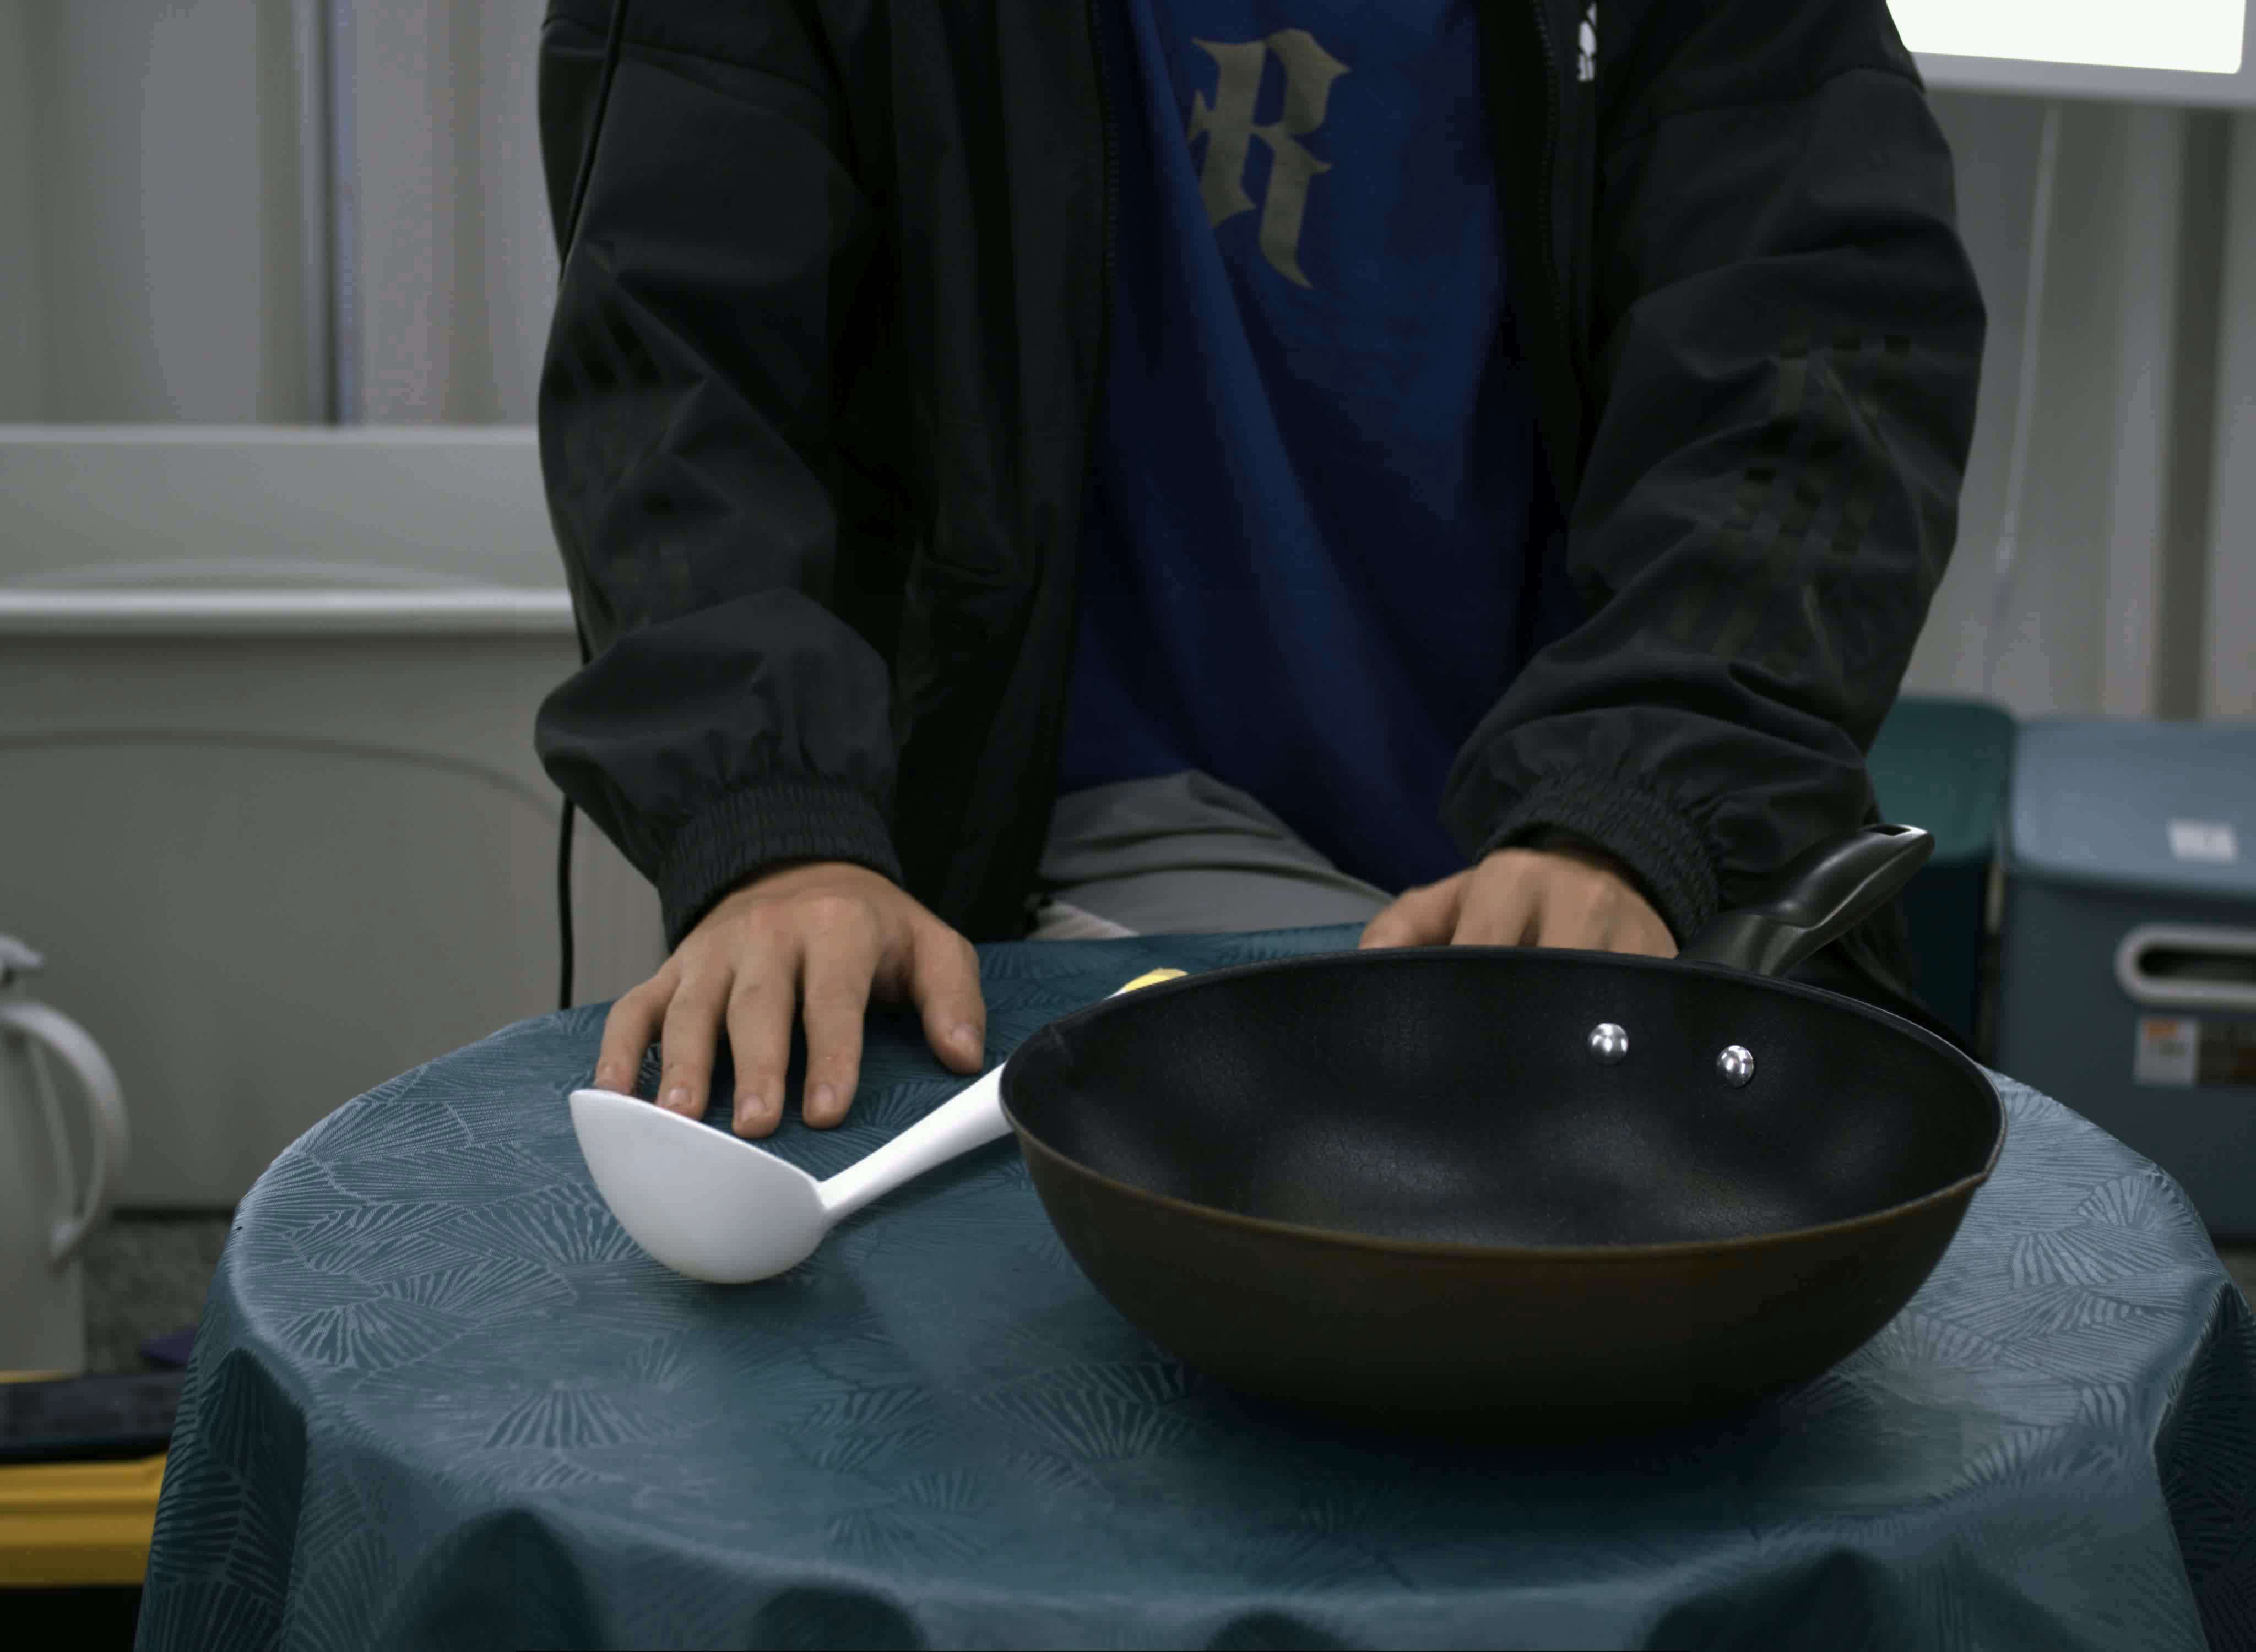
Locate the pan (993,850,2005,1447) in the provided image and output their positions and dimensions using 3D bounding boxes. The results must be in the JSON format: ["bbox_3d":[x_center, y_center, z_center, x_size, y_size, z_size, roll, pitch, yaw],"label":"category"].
[{"bbox_3d":[0.145,0.090,1.557,0.285,0.087,0.465,9,16,27],"label":"pan"}]

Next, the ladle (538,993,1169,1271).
[{"bbox_3d":[-0.065,0.079,1.623,0.089,0.070,0.294,8,15,34],"label":"ladle"}]
